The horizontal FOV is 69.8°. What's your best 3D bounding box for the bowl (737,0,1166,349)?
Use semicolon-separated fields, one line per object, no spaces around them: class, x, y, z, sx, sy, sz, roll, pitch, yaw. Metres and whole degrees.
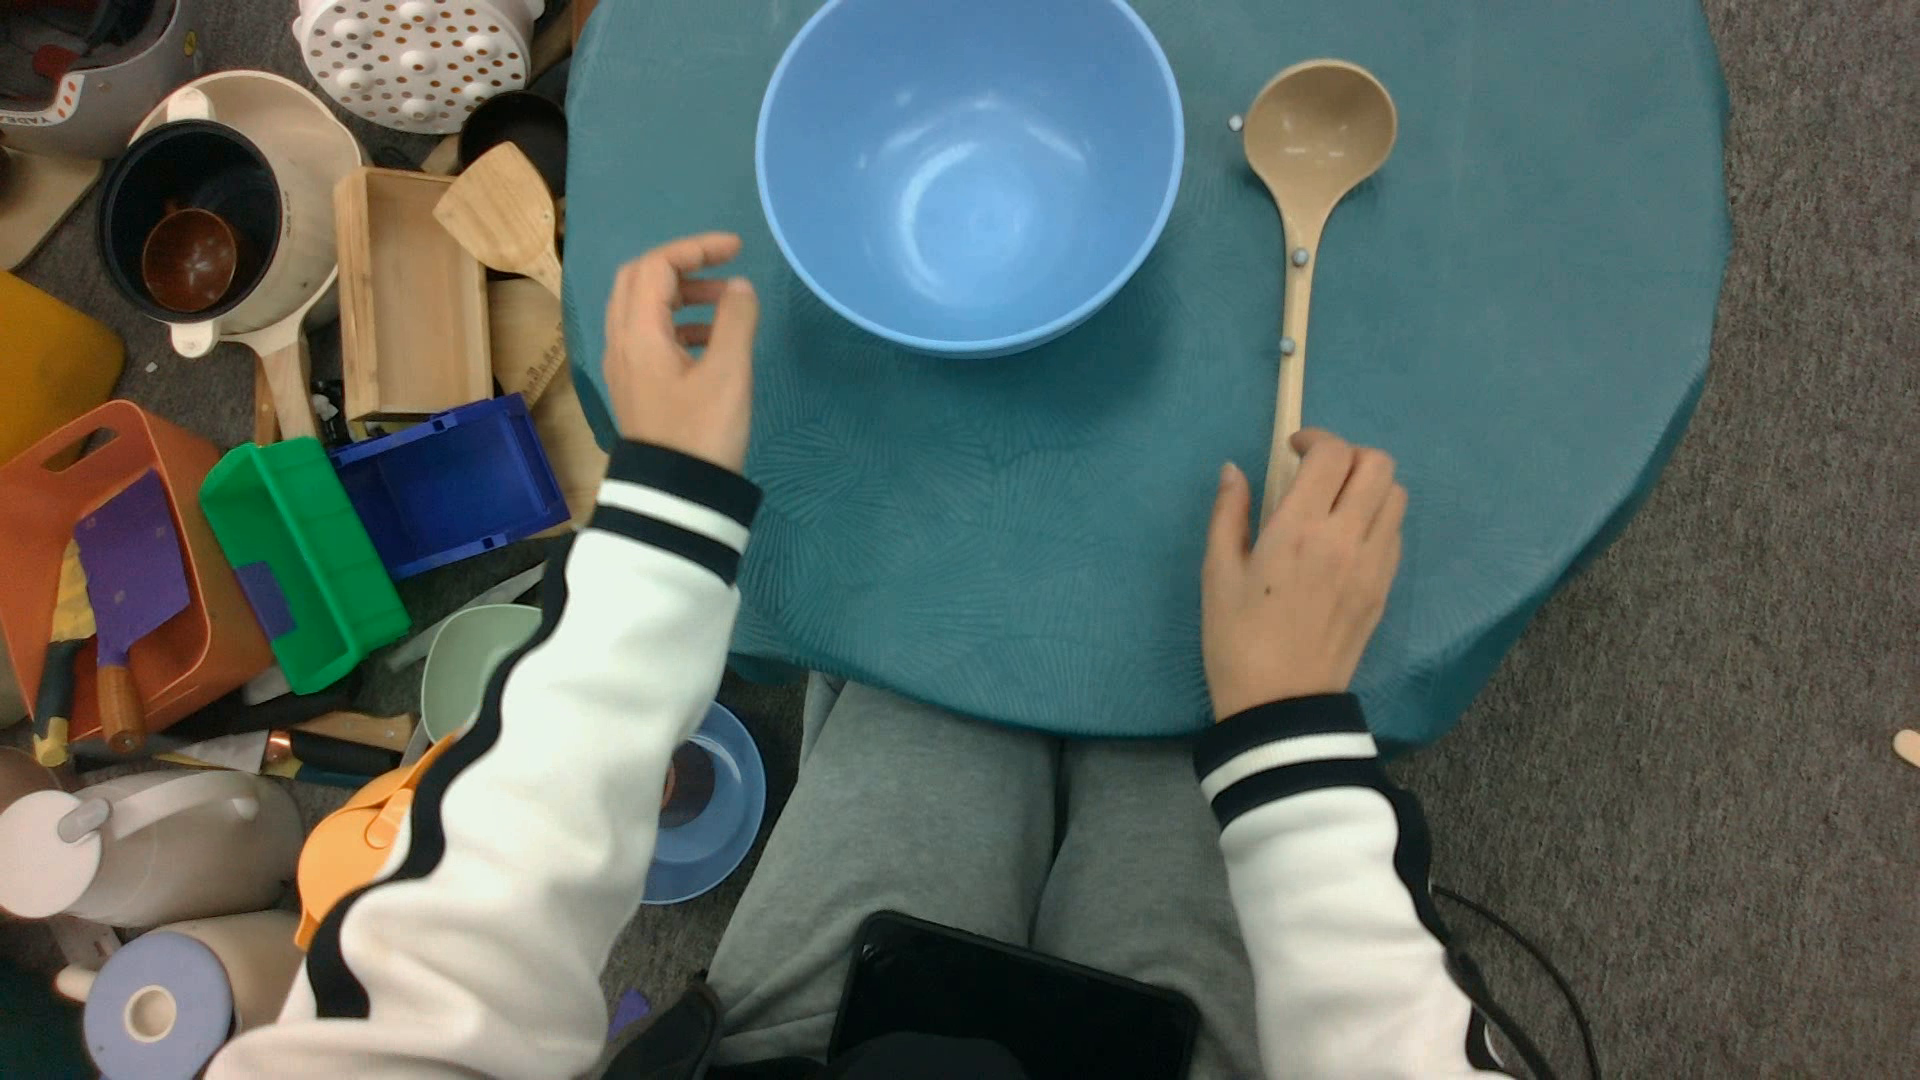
bowl;-0.001;-0.175;0.671;0.196;0.095;0.197;-1;76;5

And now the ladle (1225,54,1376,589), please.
ladle;0.160;-0.107;0.660;0.072;0.073;0.255;3;79;6
